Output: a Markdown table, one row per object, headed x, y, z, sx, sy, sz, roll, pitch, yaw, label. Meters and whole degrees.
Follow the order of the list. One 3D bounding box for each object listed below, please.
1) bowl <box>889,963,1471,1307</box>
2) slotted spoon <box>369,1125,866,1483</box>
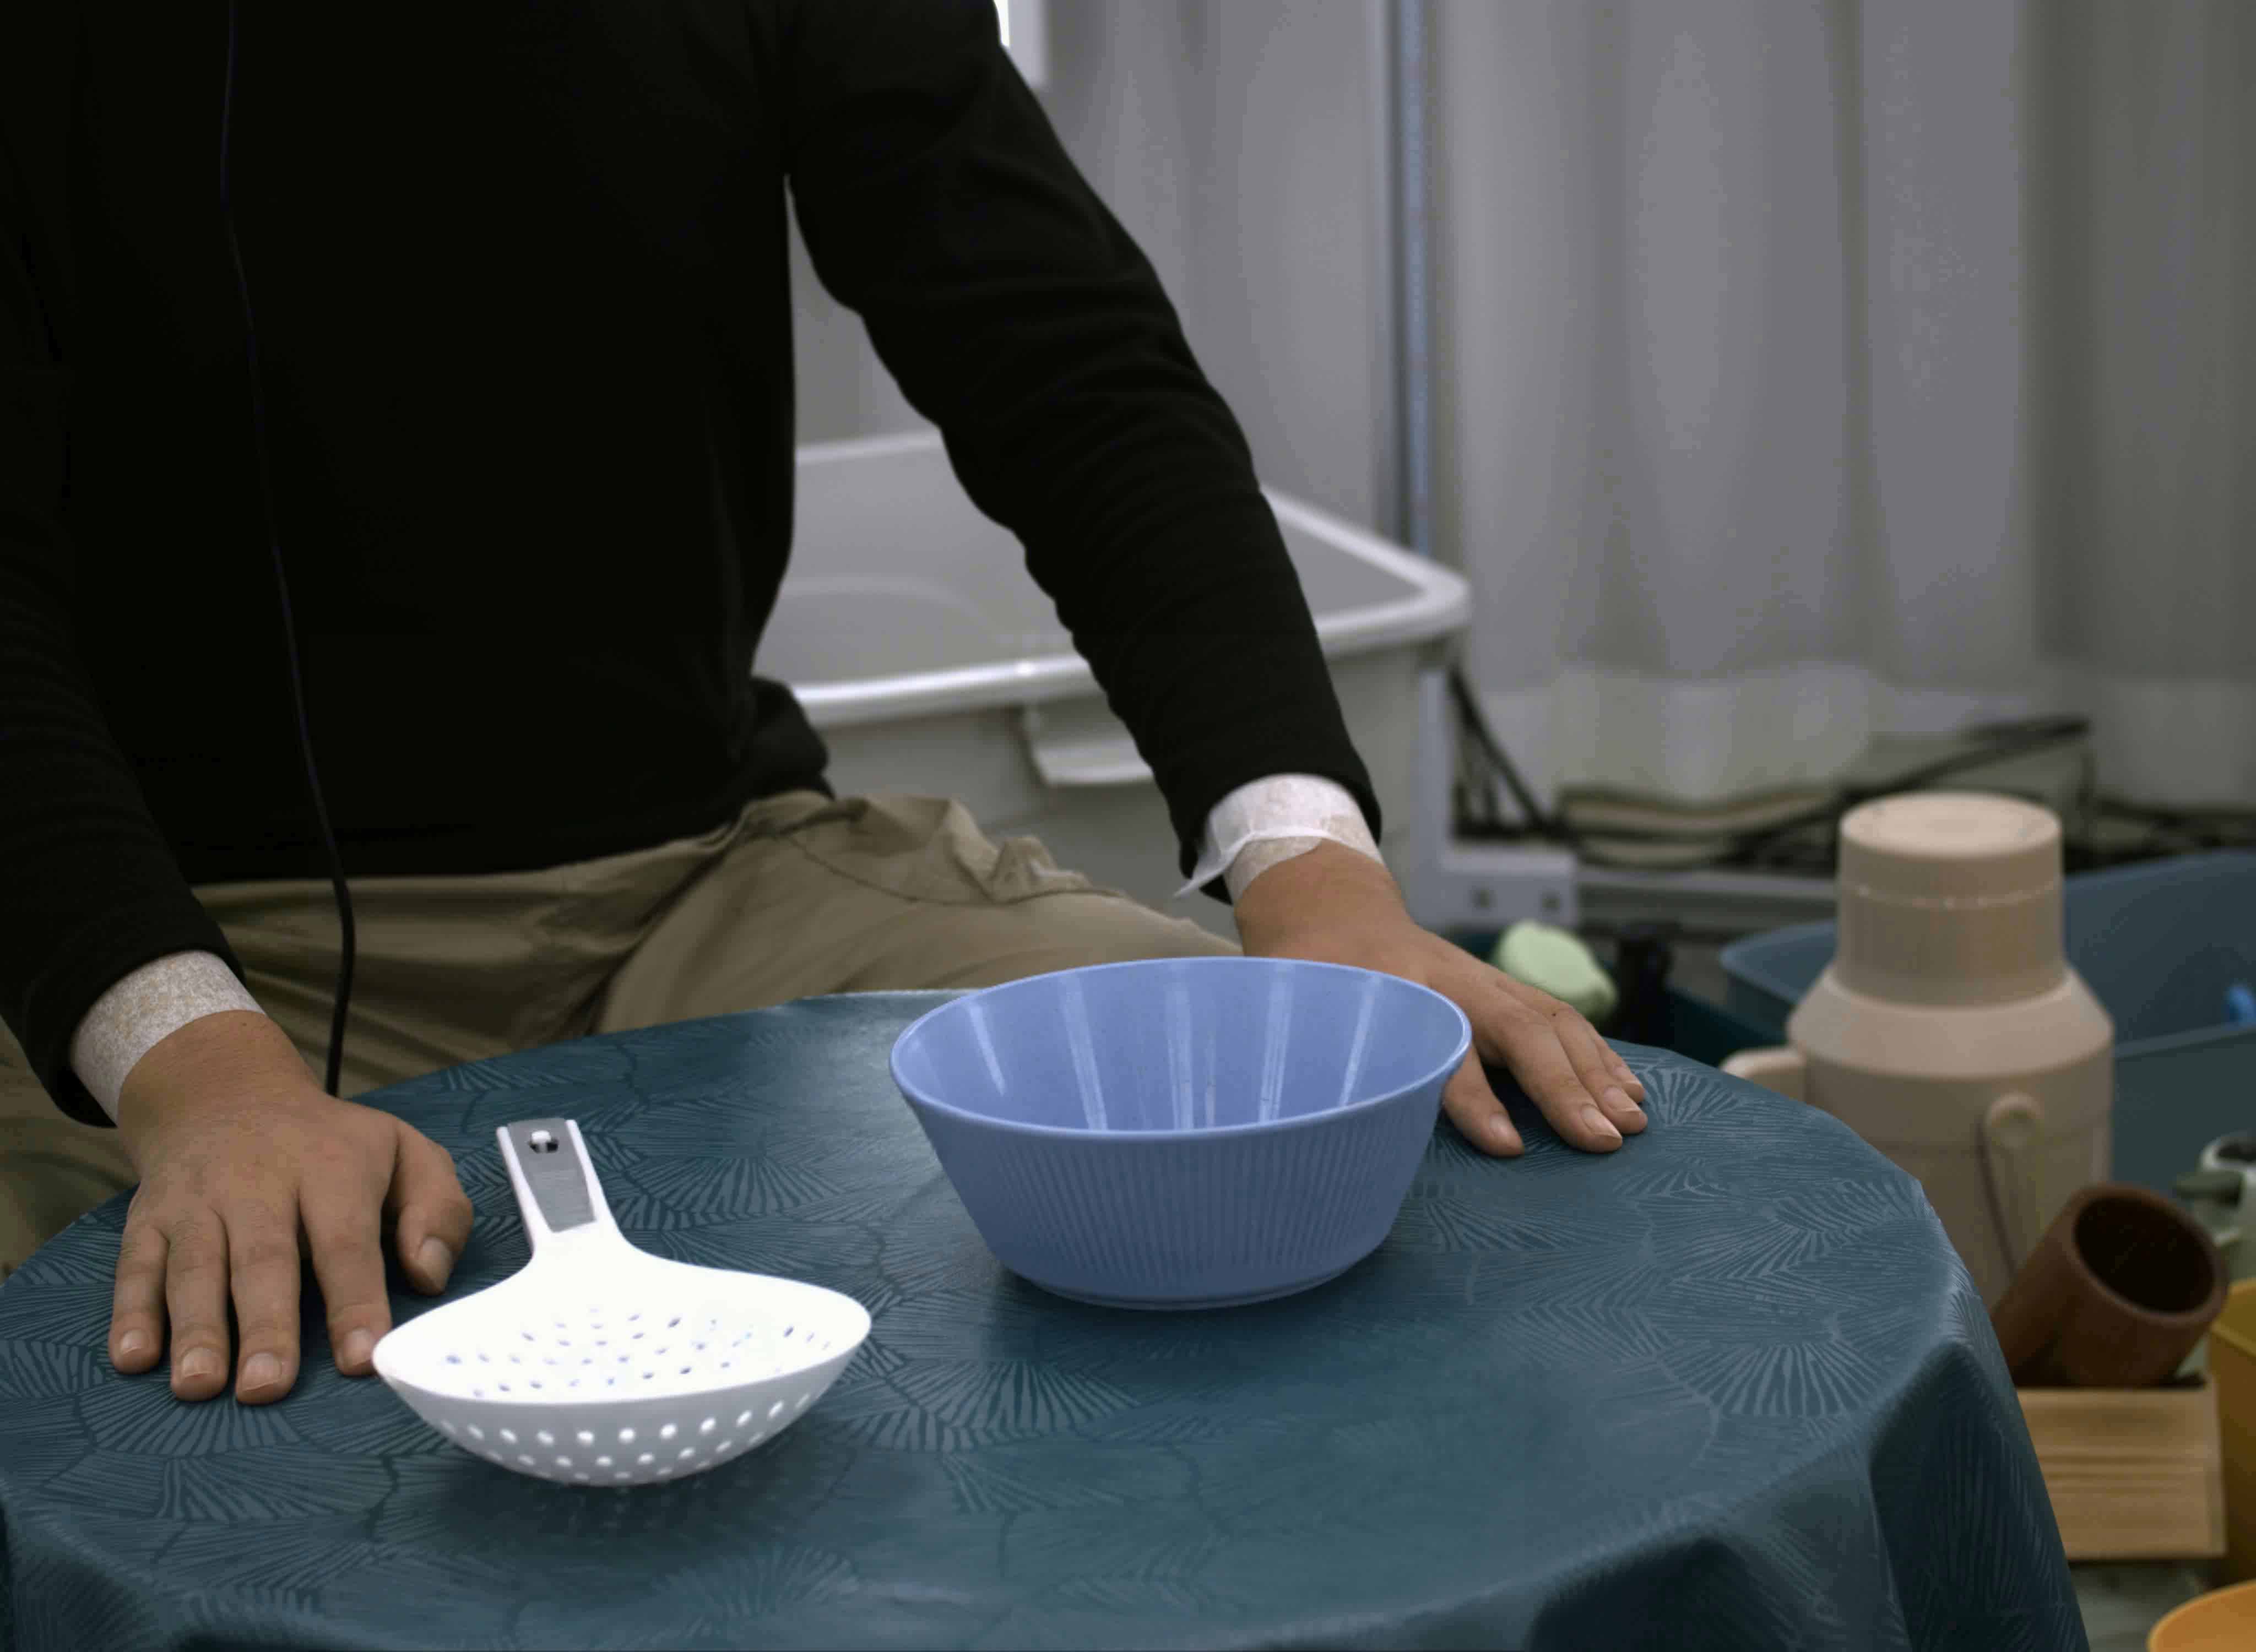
| x | y | z | sx | sy | sz | roll | pitch | yaw | label |
| --- | --- | --- | --- | --- | --- | --- | --- | --- | --- |
| 0.017 | 0.095 | 1.650 | 0.175 | 0.070 | 0.177 | -4 | 14 | 1 | bowl |
| -0.160 | 0.130 | 1.599 | 0.135 | 0.045 | 0.352 | -6 | 14 | -10 | slotted spoon |
